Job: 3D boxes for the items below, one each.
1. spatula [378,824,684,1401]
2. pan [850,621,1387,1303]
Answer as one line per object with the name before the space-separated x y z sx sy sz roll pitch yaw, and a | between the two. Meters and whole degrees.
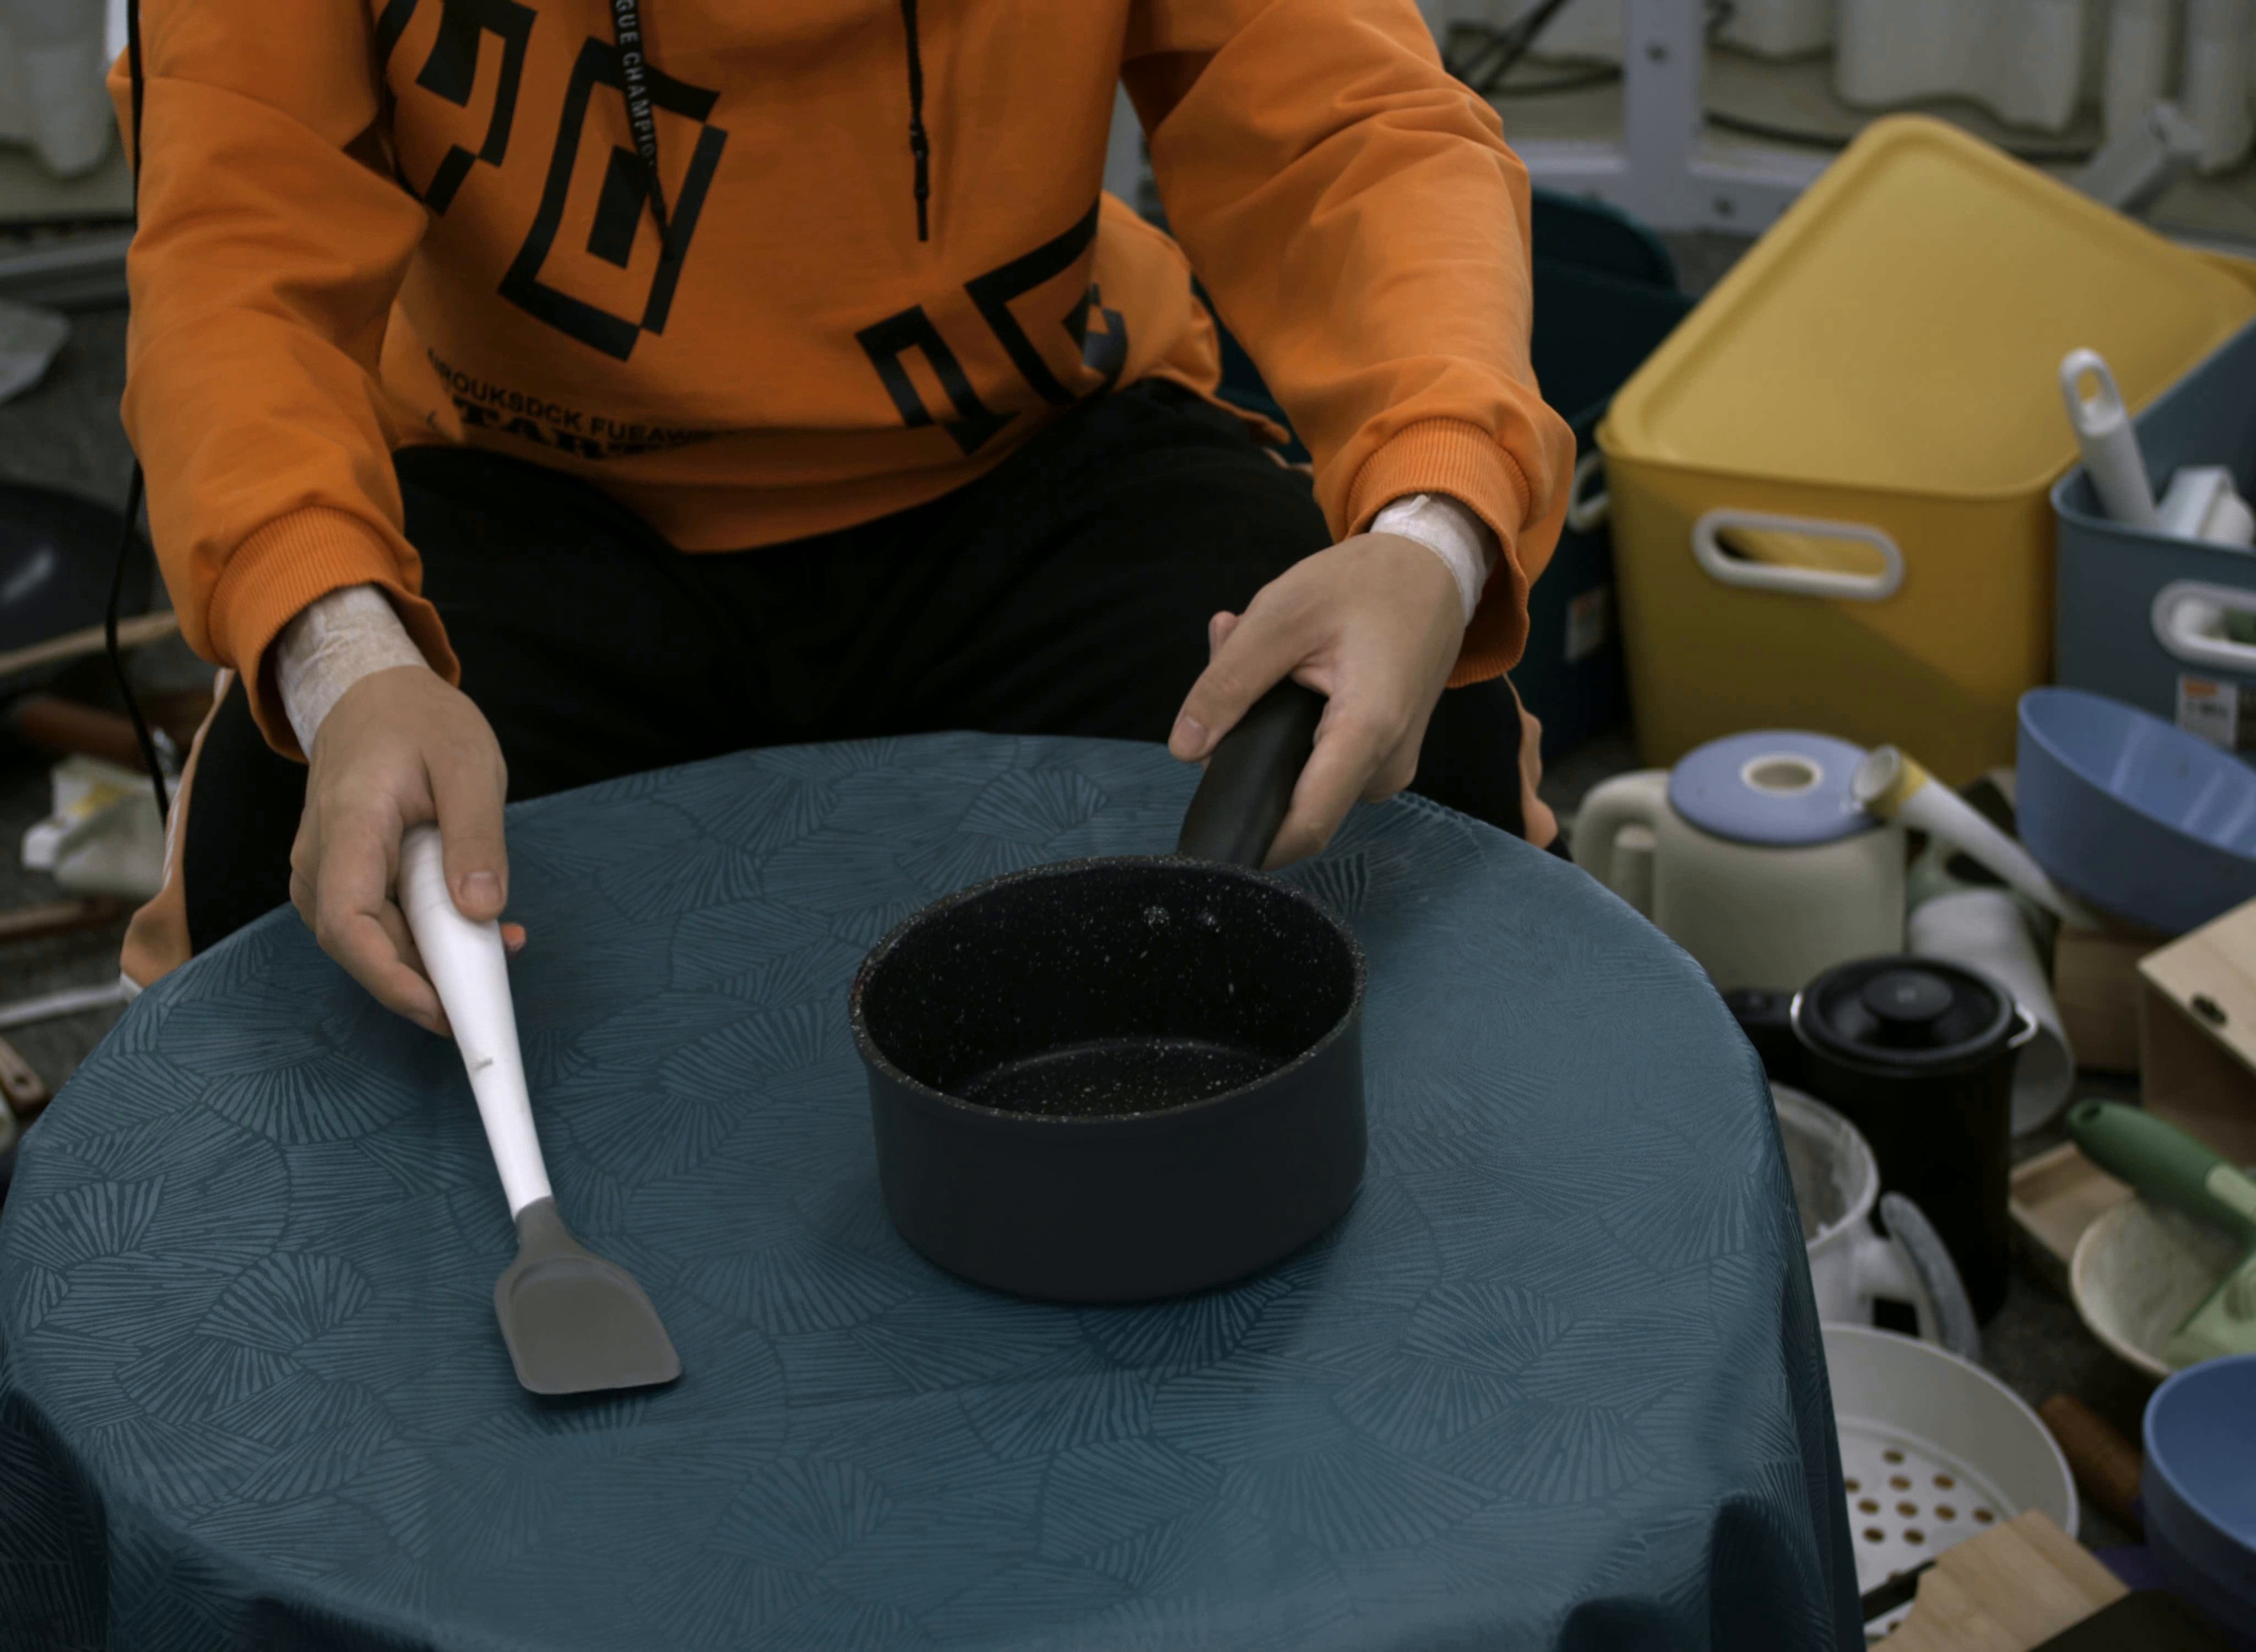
spatula | -0.206 0.098 1.868 0.059 0.032 0.291 1 36 -21
pan | 0.023 0.042 1.916 0.171 0.085 0.335 7 32 18
